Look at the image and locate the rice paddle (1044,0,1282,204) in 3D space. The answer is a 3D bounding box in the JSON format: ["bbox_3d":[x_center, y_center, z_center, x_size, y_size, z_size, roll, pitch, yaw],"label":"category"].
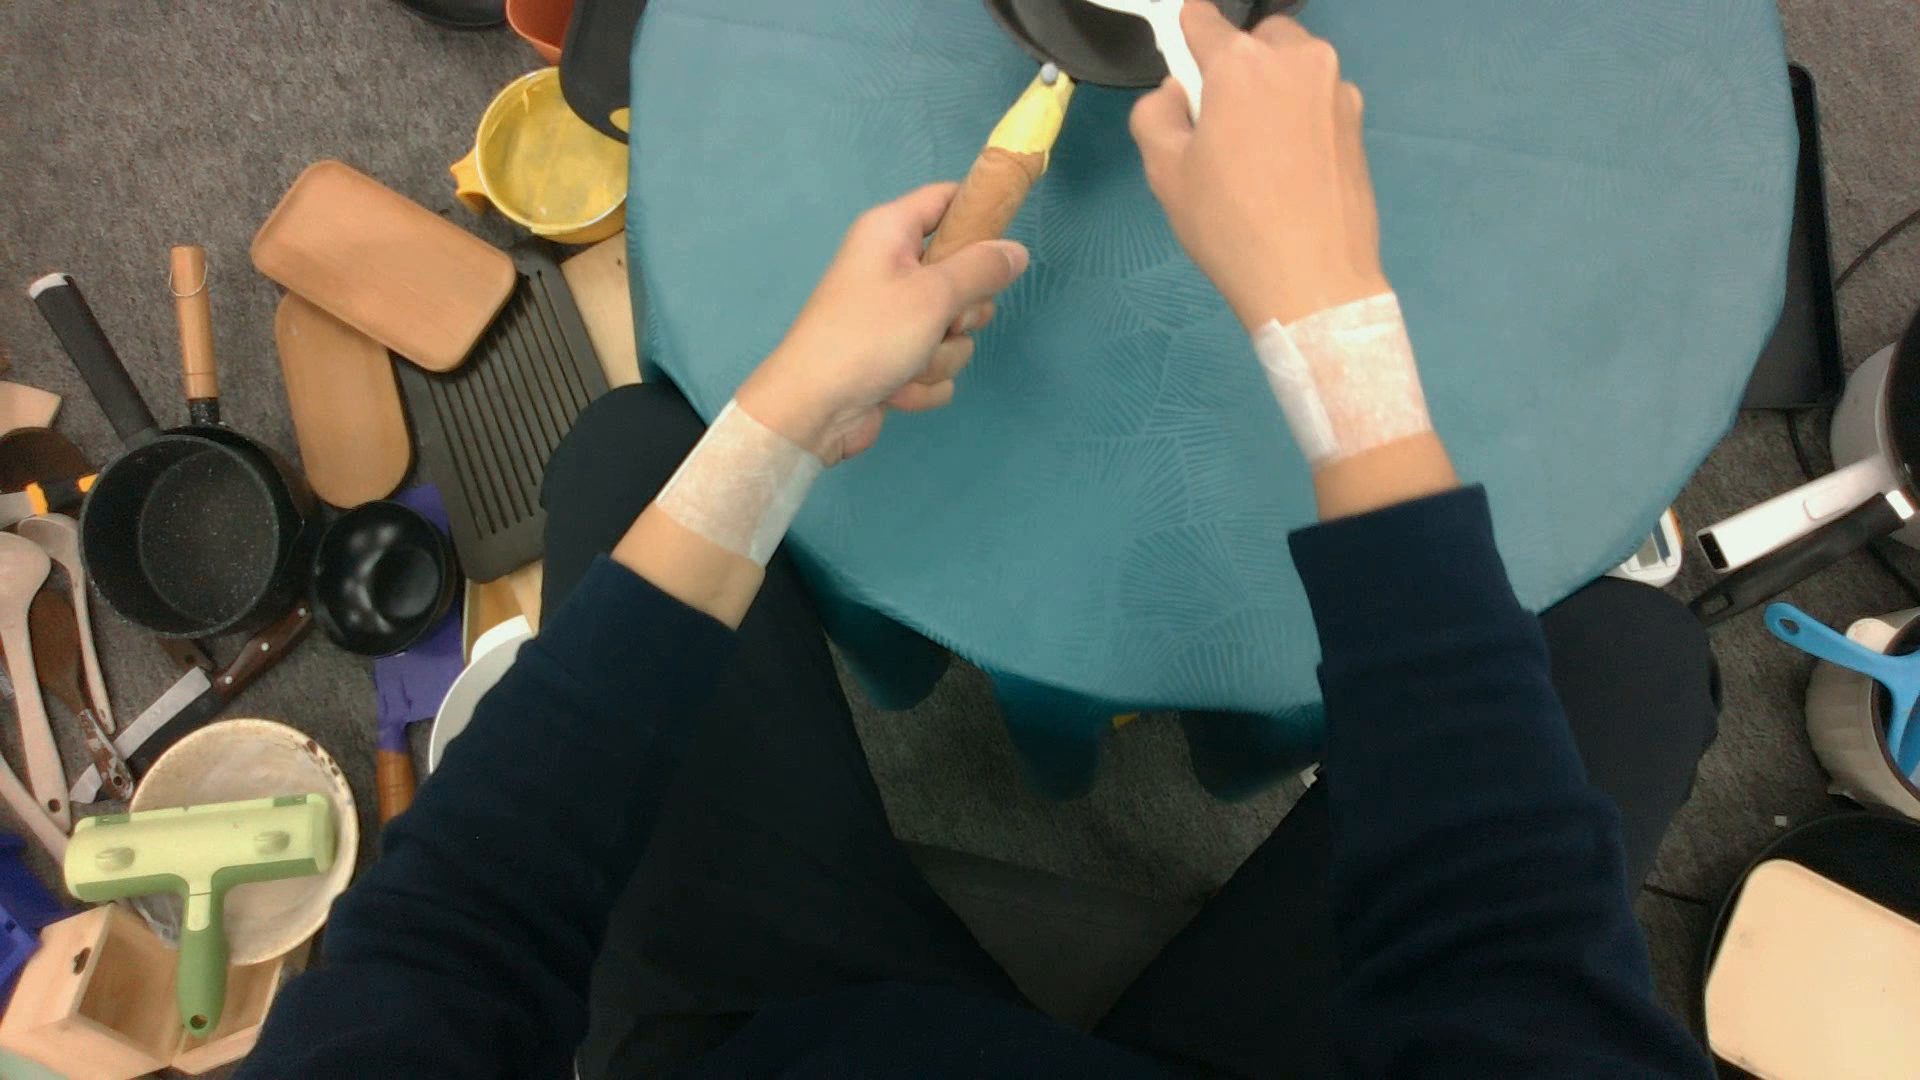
[{"bbox_3d":[0.081,-0.221,0.599,0.069,0.029,0.206,-18,54,-4],"label":"rice paddle"}]

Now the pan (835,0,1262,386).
[{"bbox_3d":[0.025,-0.209,0.625,0.169,0.049,0.325,27,80,6],"label":"pan"}]
